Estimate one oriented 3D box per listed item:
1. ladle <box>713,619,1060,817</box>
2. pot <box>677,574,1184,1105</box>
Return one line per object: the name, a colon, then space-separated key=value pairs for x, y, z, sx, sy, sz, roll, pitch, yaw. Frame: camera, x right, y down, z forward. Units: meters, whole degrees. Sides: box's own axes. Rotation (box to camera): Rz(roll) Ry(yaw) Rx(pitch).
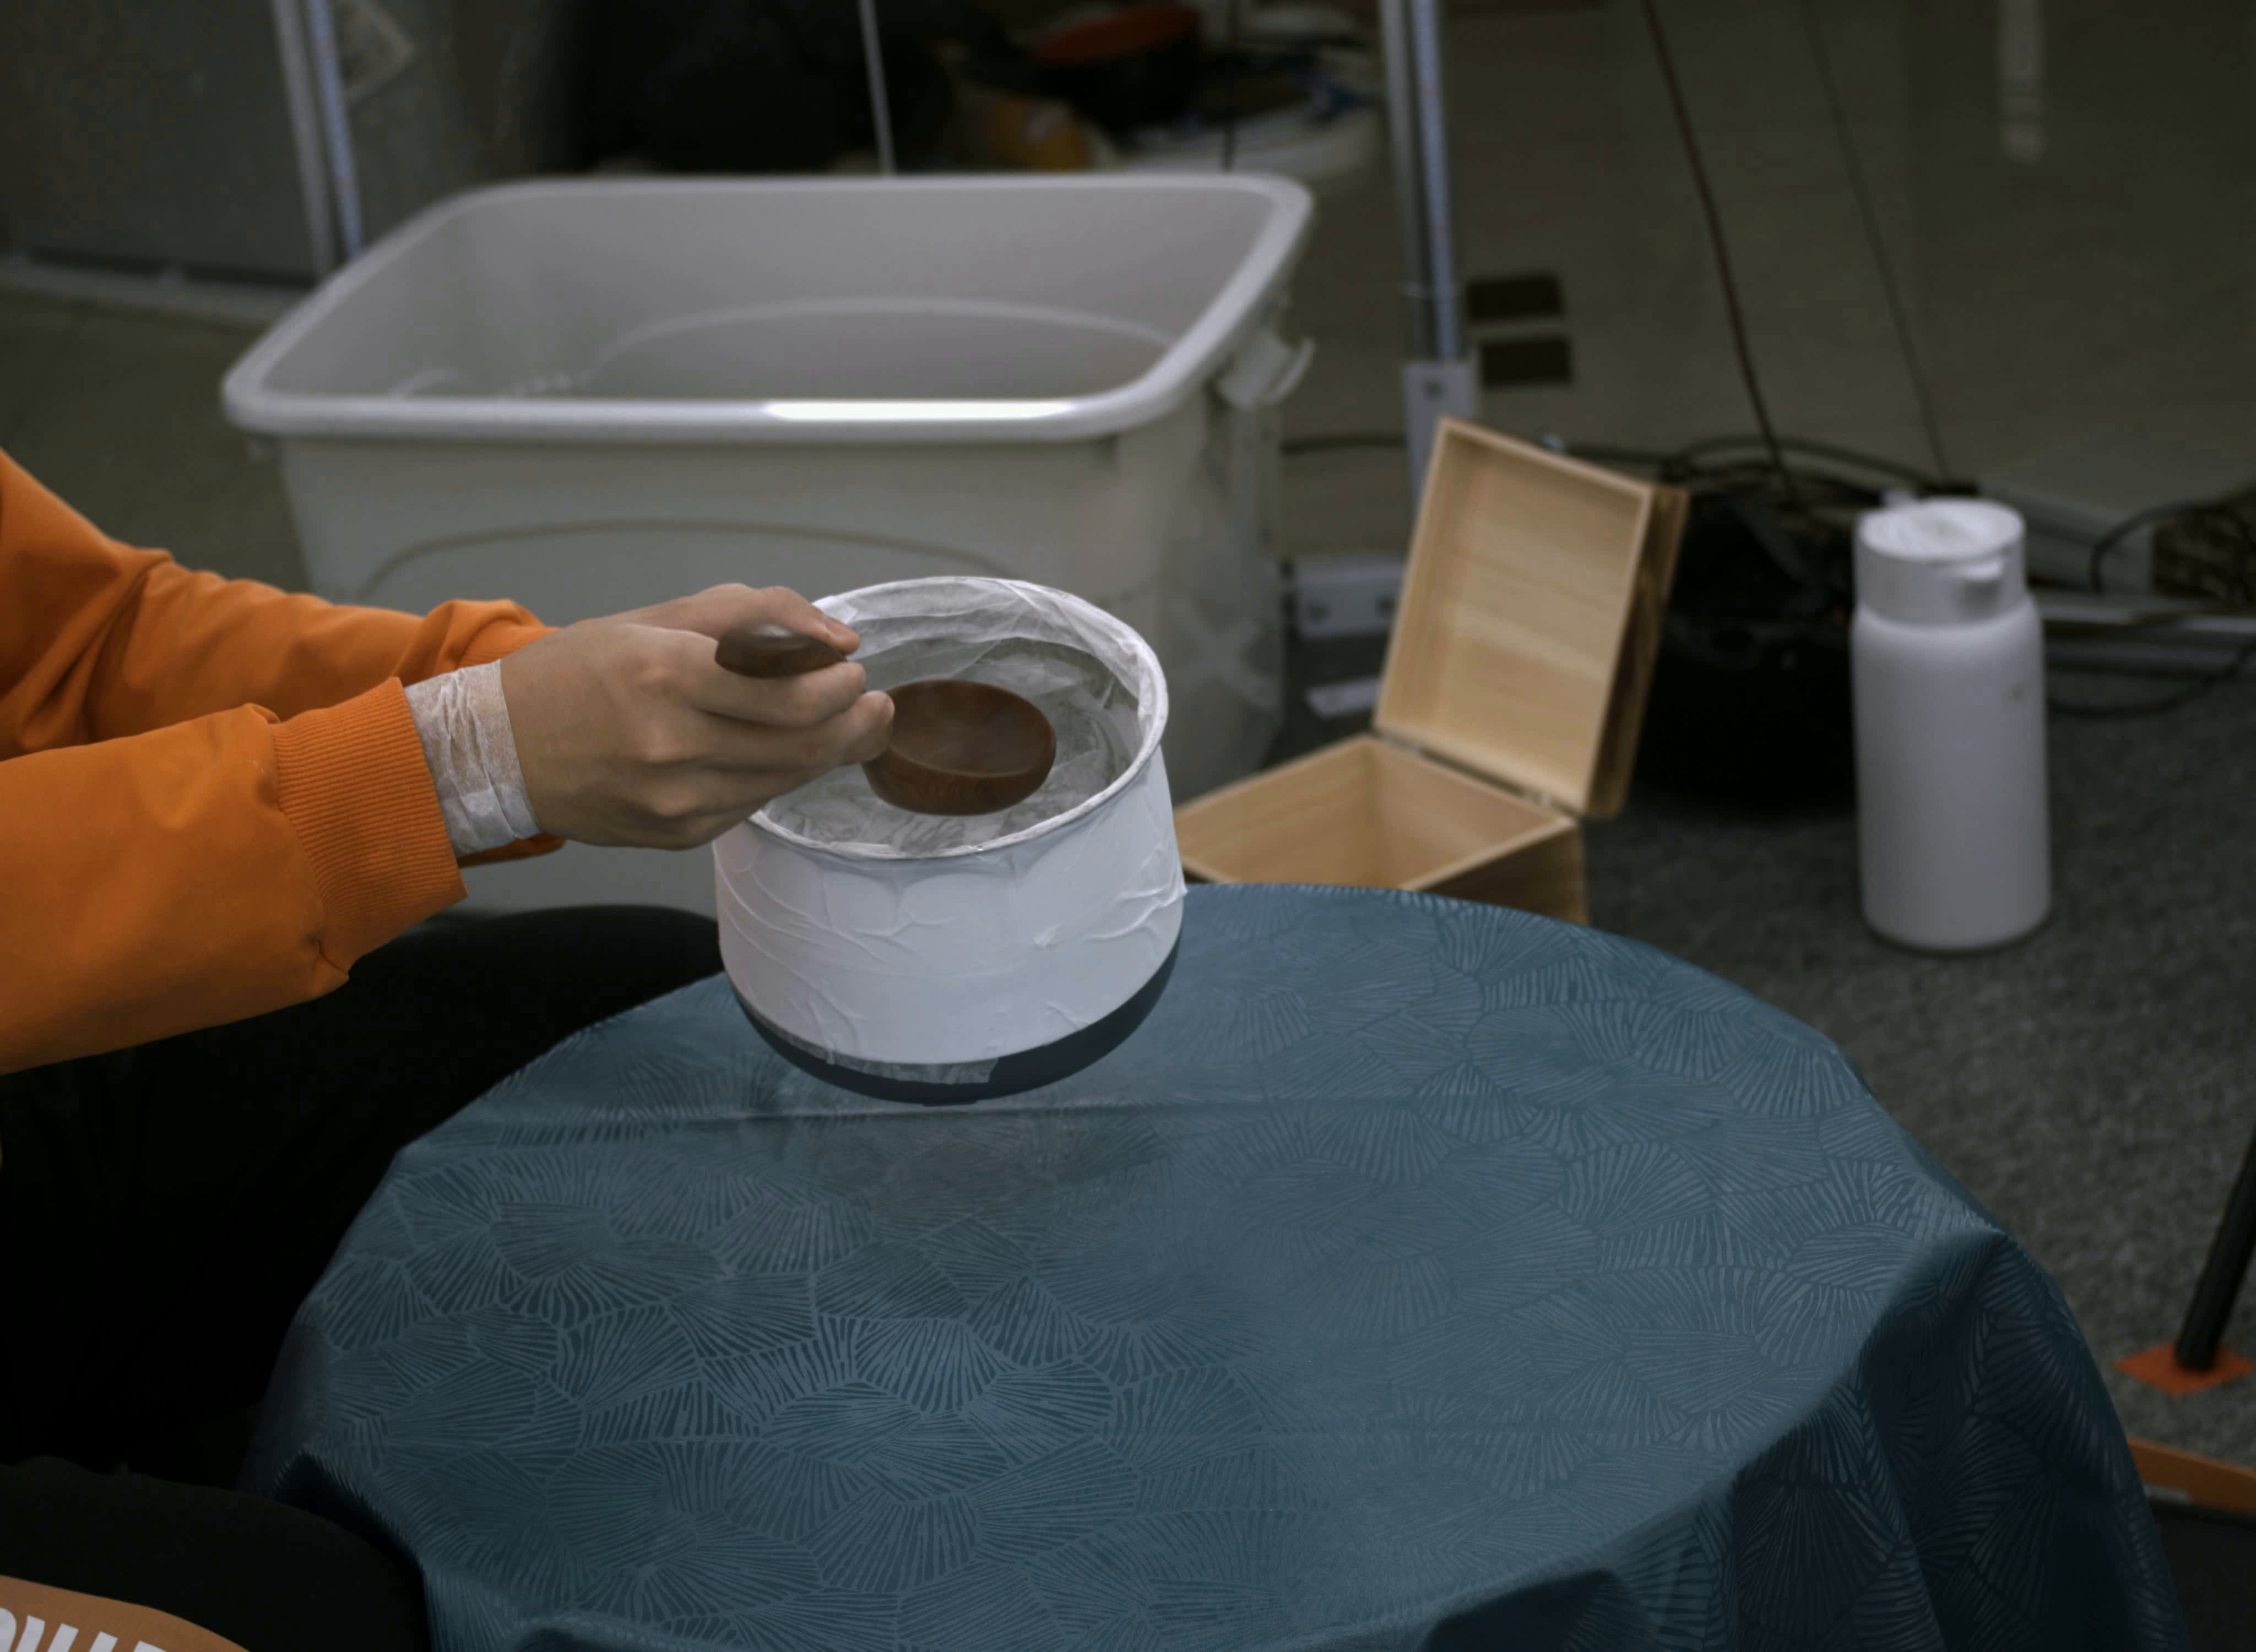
ladle: x=-0.089 y=-0.053 z=1.998 sx=0.076 sy=0.065 sz=0.262 roll=13 pitch=-10 yaw=18
pot: x=-0.088 y=-0.003 z=2.139 sx=0.231 sy=0.139 sz=0.177 roll=29 pitch=48 yaw=35
